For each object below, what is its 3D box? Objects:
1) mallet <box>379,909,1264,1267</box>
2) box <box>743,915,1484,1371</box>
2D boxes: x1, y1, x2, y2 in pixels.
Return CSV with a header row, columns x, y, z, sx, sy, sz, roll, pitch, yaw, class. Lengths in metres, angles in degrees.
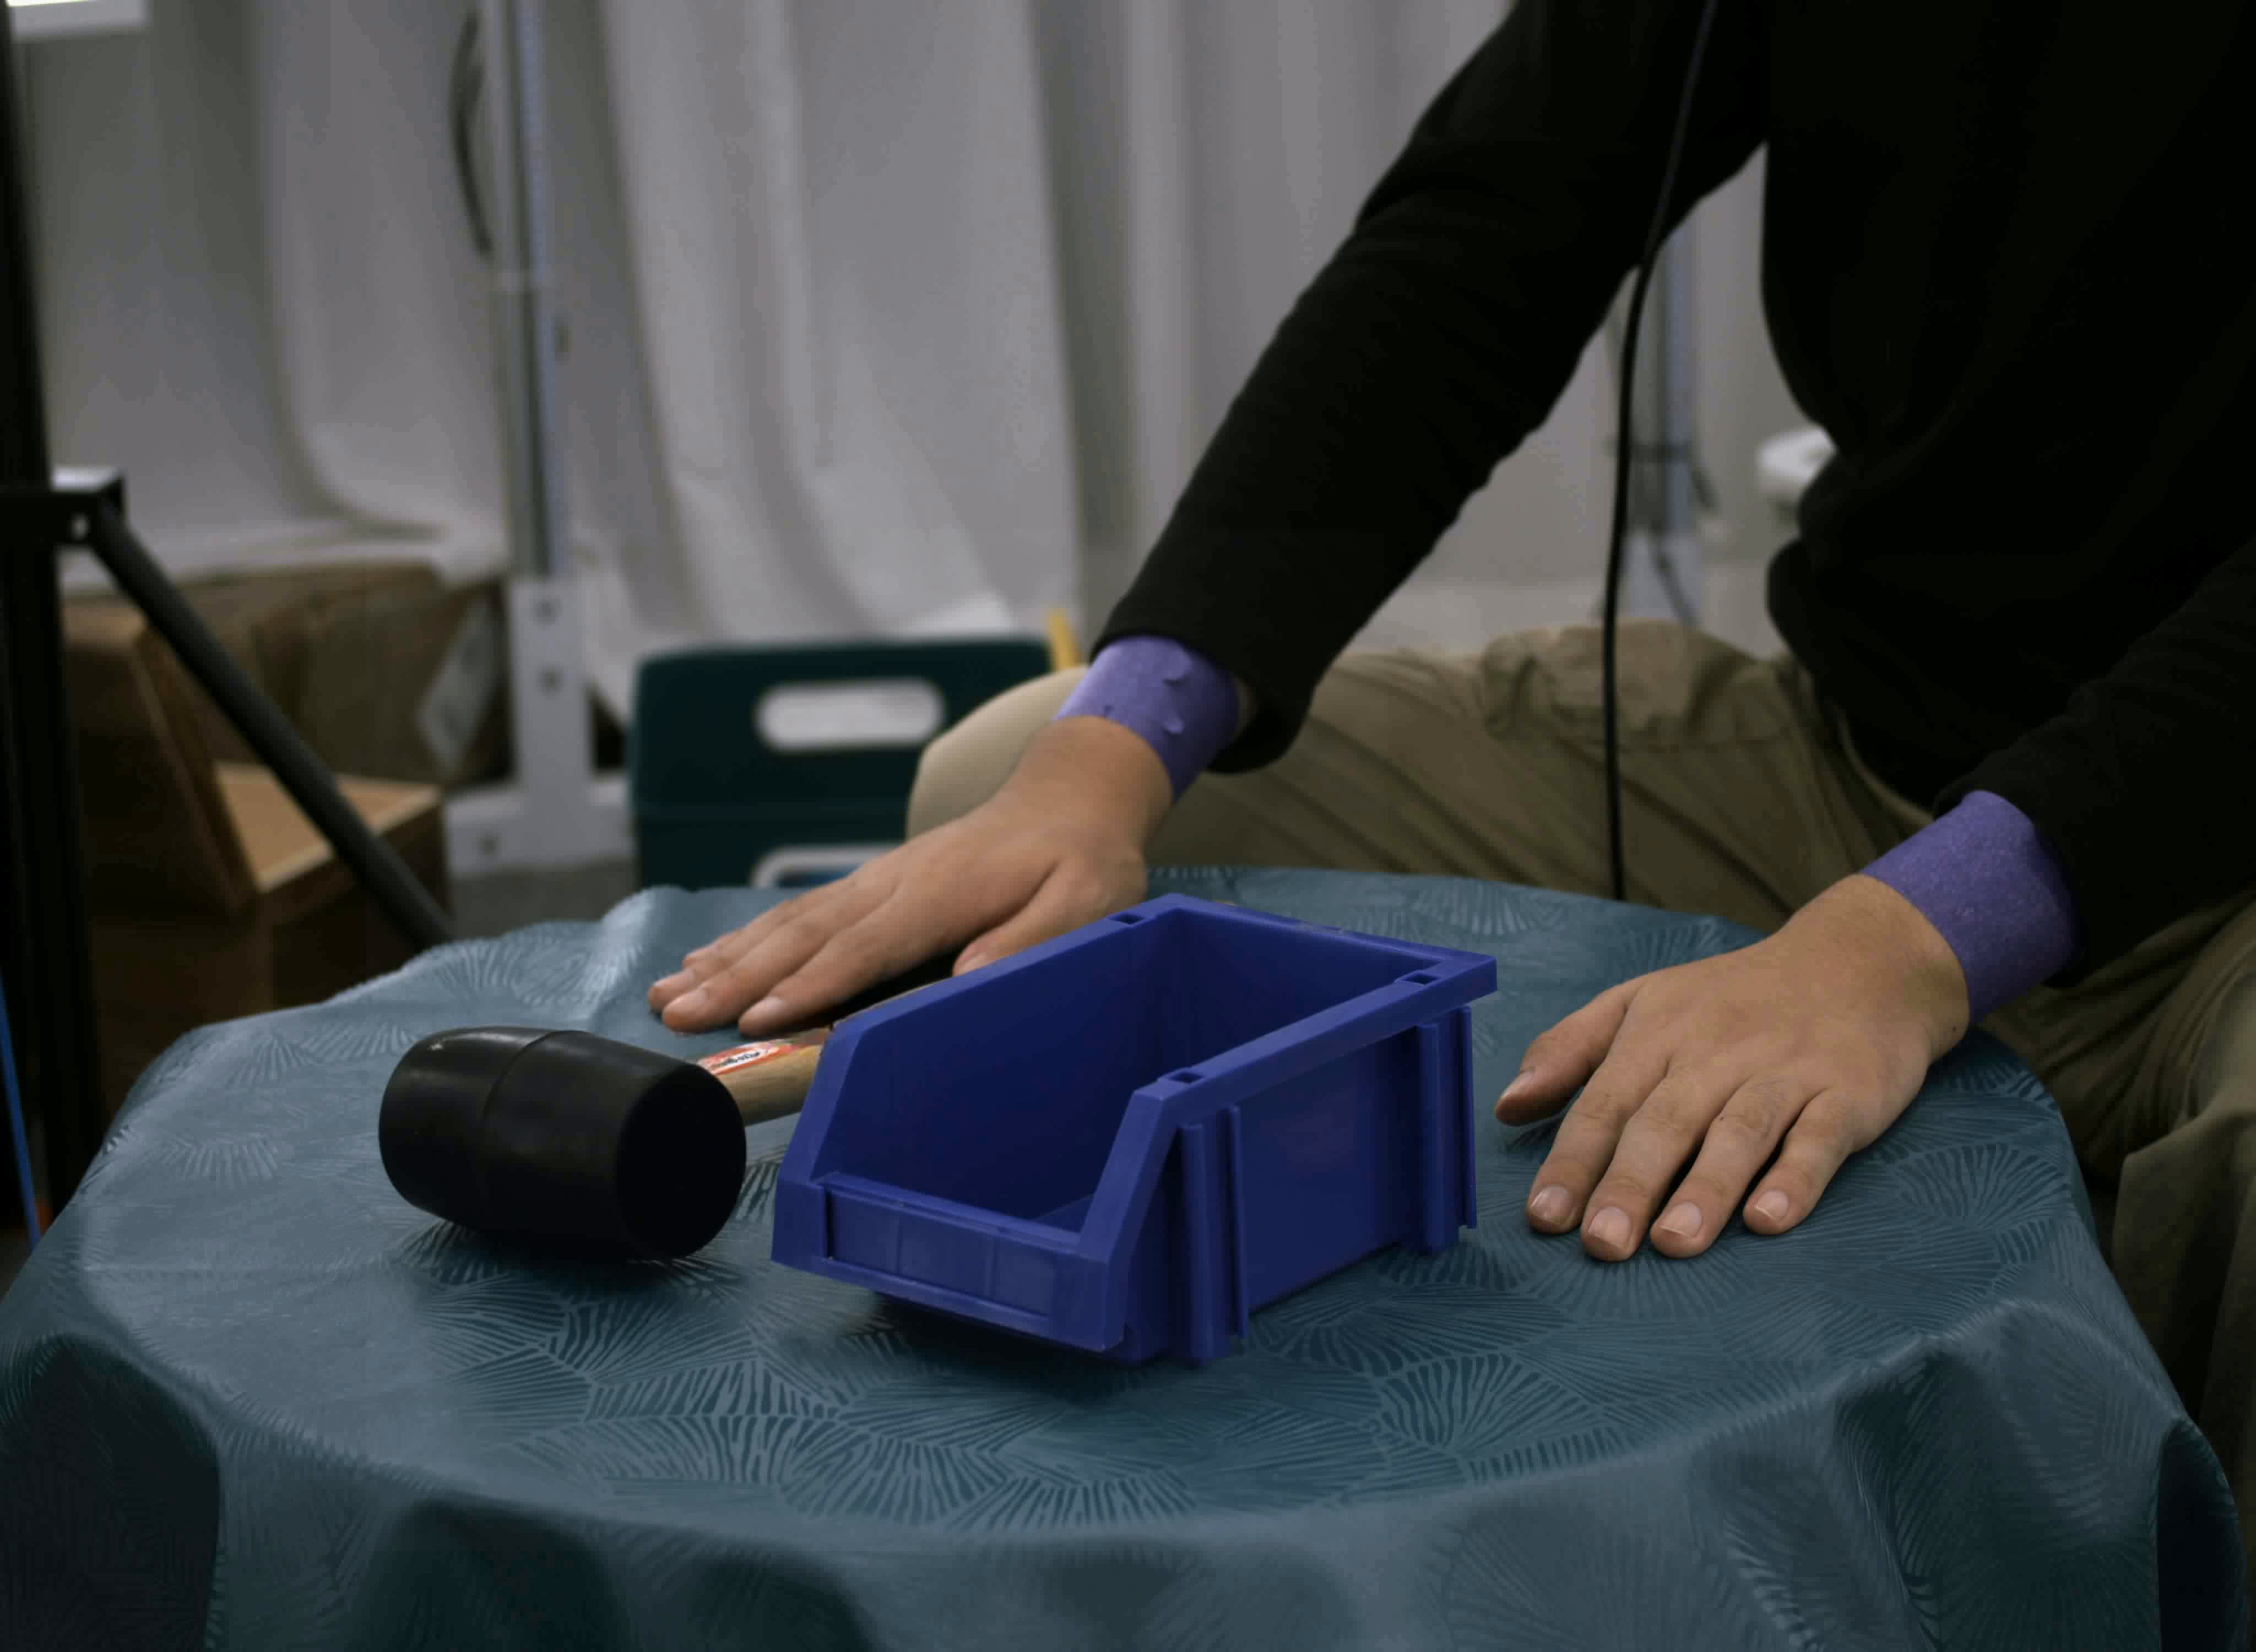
x,y,z,sx,sy,sz,roll,pitch,yaw,class
-0.075,0.061,1.625,0.104,0.064,0.331,11,20,40,mallet
-0.001,0.089,1.472,0.127,0.082,0.175,11,17,41,box
